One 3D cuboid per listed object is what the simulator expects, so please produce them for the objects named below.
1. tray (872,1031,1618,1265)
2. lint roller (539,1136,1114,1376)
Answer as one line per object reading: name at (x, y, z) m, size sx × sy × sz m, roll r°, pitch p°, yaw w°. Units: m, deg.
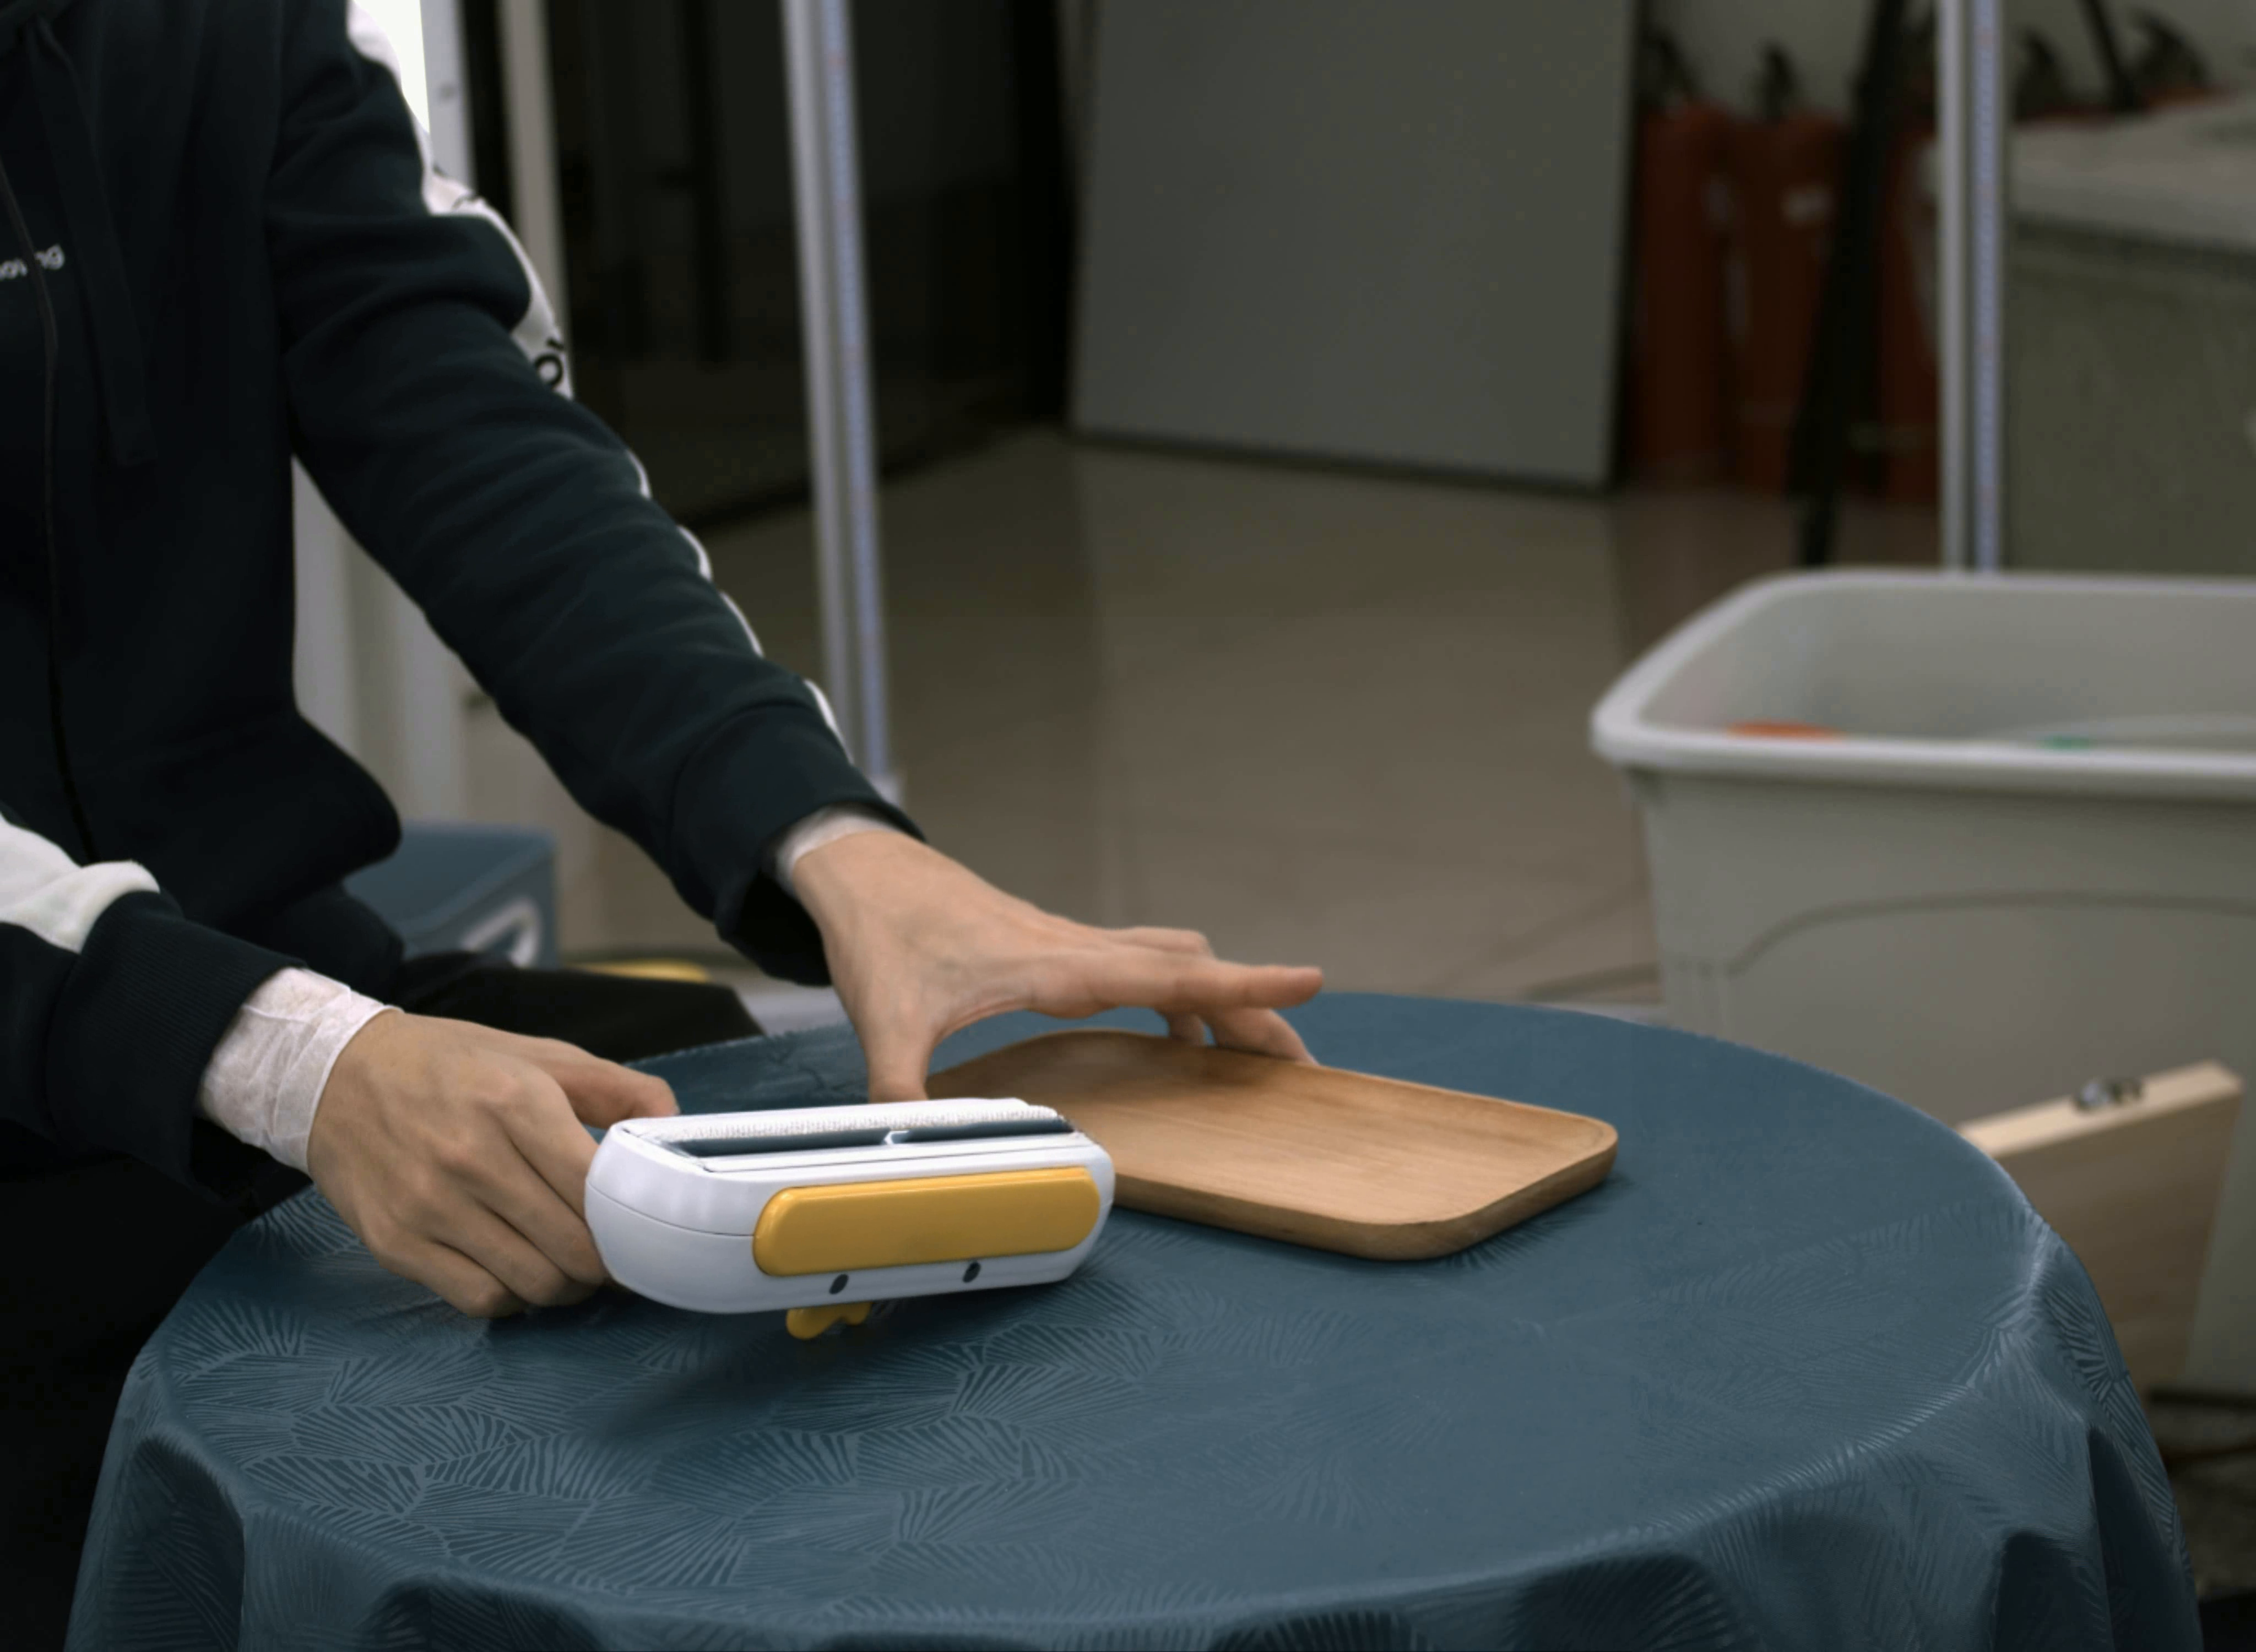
tray at (0.037, 0.105, 1.791) m, size 0.253 × 0.023 × 0.128 m, roll 7°, pitch 16°, yaw 41°
lint roller at (-0.123, 0.135, 1.686) m, size 0.188 × 0.075 × 0.194 m, roll -3°, pitch -4°, yaw -40°
